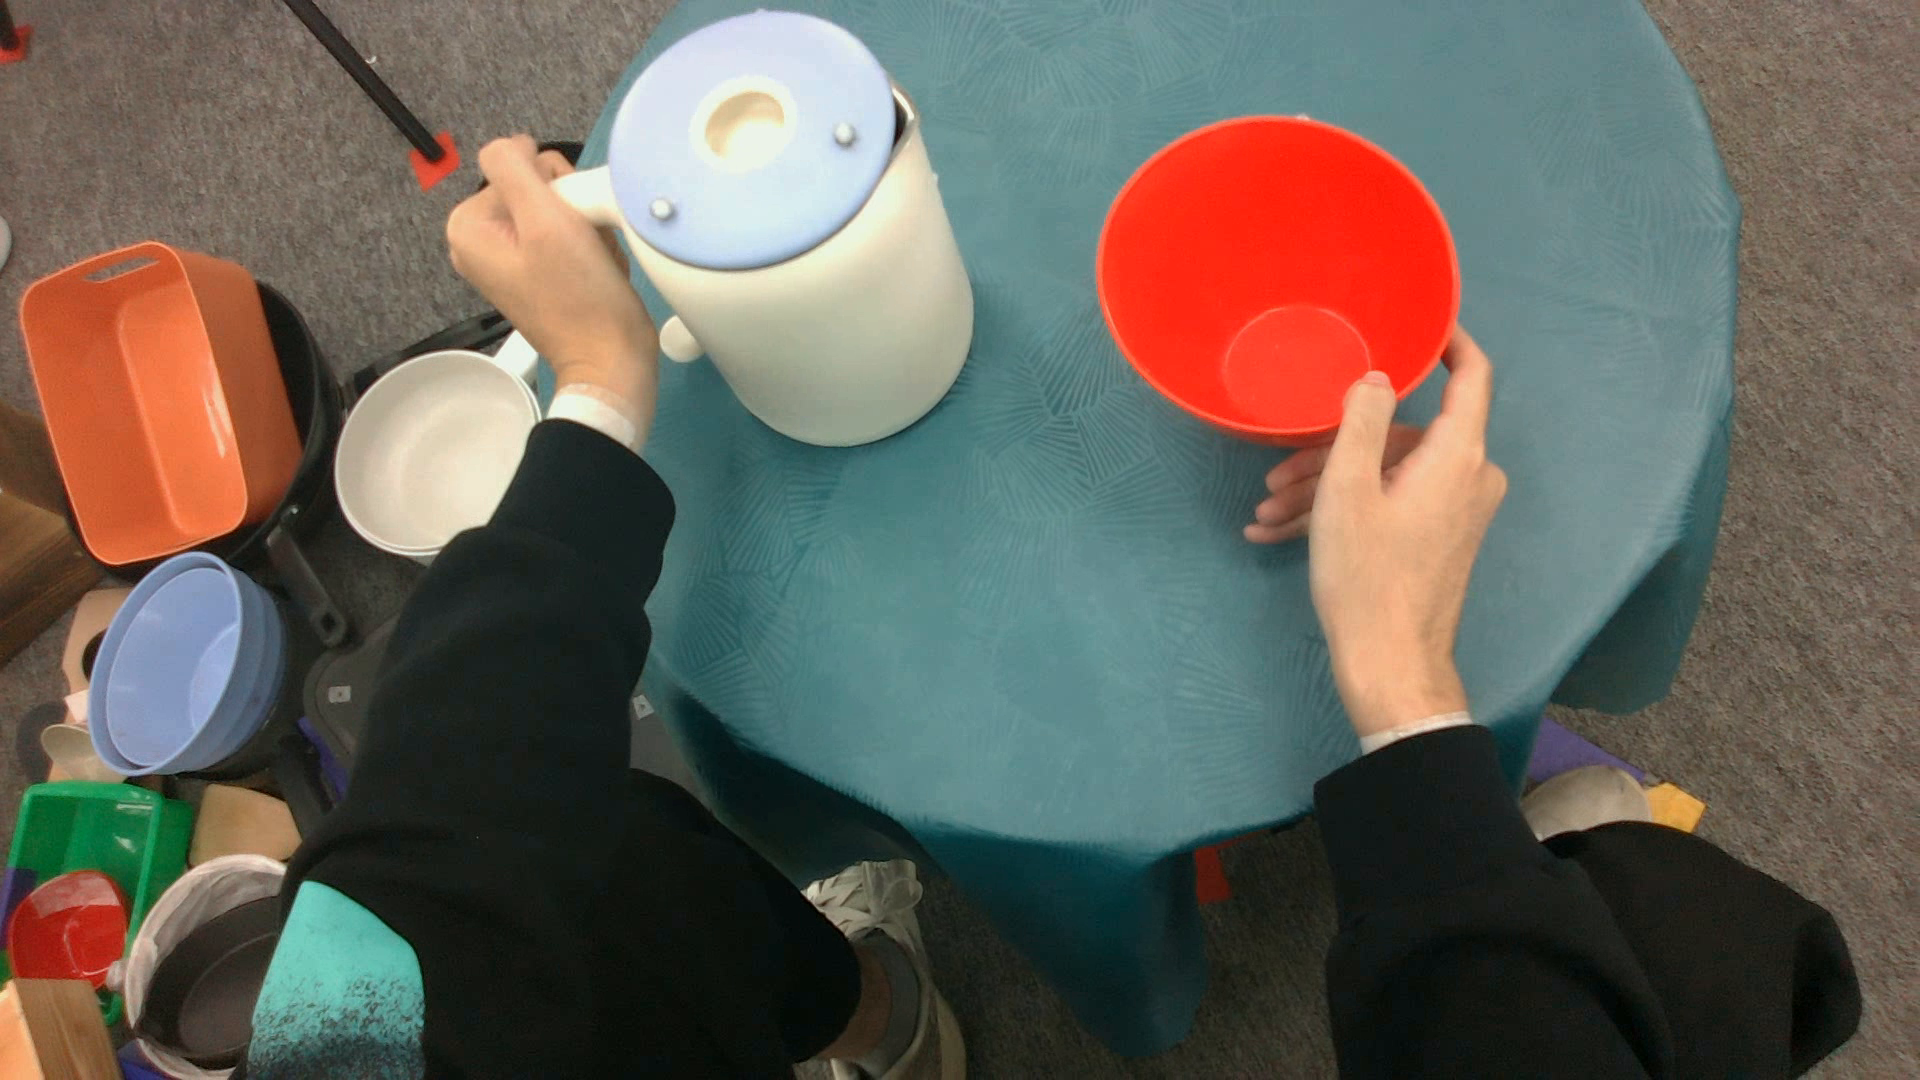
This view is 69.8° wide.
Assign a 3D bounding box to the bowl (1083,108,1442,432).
[{"bbox_3d":[0.135,-0.105,0.616,0.148,0.104,0.148,-4,68,10],"label":"bowl"}]

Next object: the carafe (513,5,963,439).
[{"bbox_3d":[-0.100,-0.133,0.629,0.191,0.182,0.132,-9,68,9],"label":"carafe"}]
